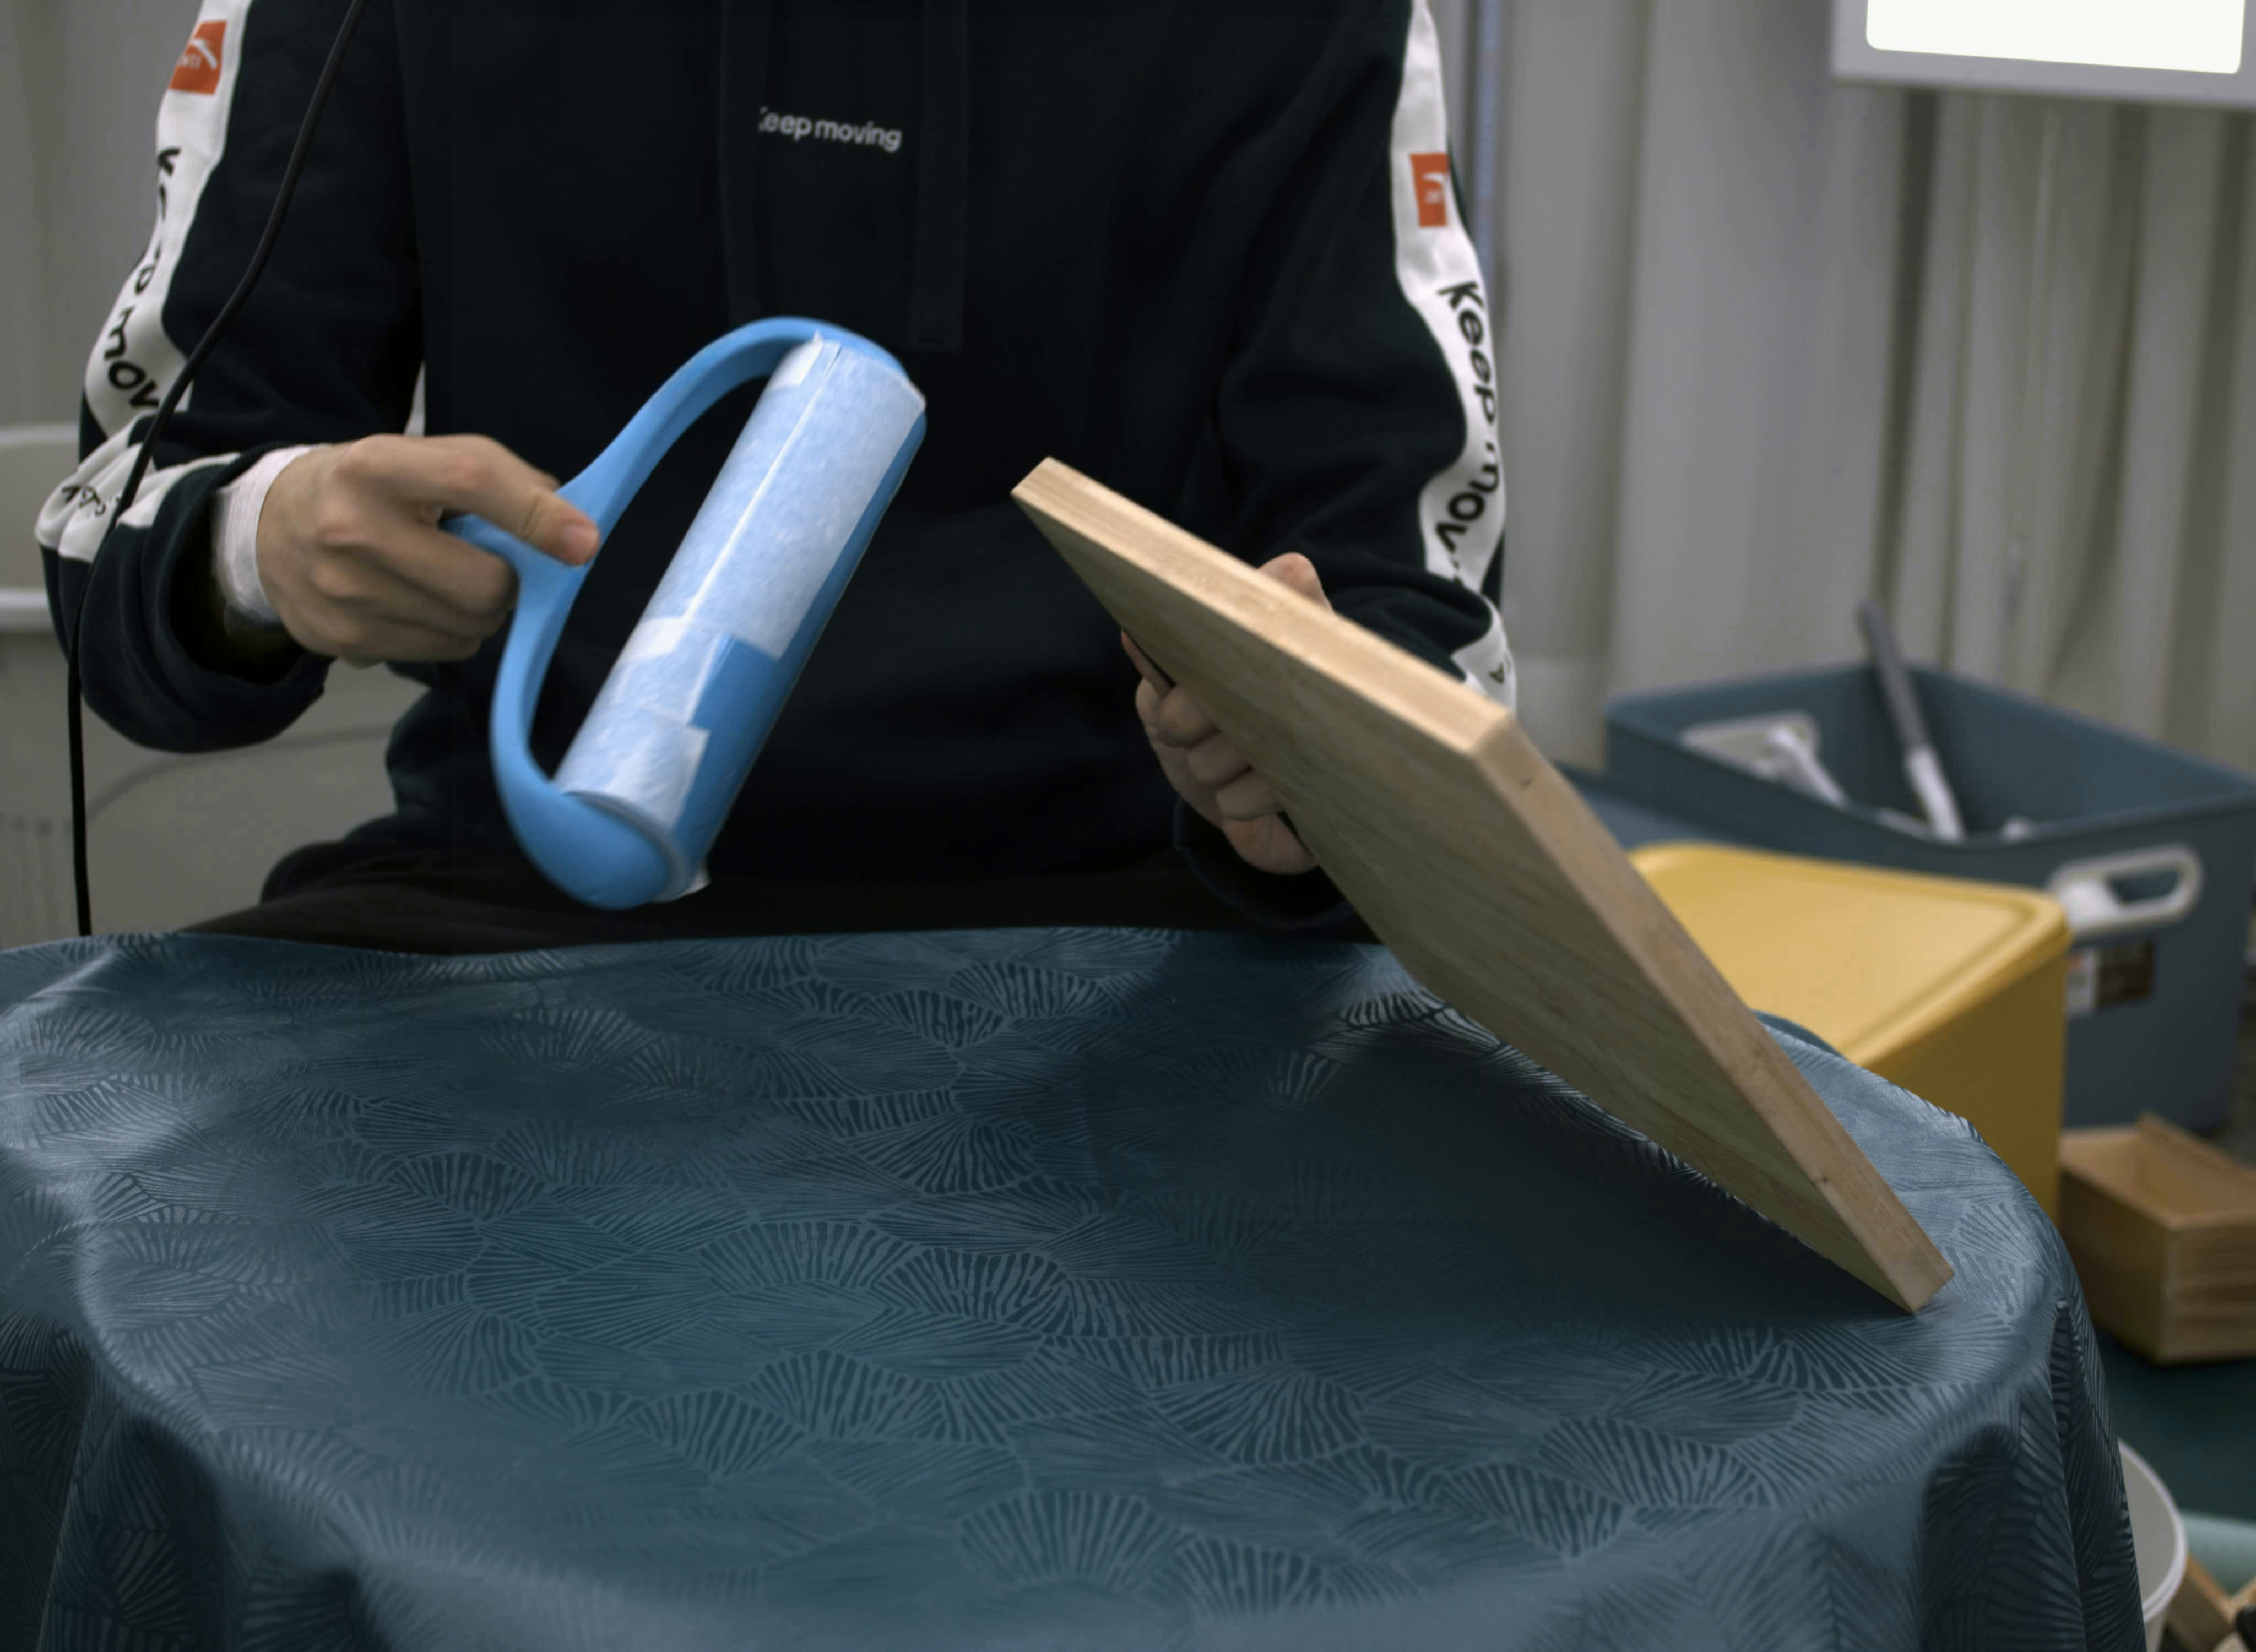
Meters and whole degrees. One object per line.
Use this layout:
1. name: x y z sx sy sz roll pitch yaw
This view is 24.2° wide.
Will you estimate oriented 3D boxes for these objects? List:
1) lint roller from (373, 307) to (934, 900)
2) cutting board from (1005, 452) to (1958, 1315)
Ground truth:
1. lint roller: -0.176 -0.078 1.711 0.178 0.069 0.228 7 56 20
2. cutting board: 0.099 0.010 1.618 0.023 0.254 0.344 -43 28 -7
